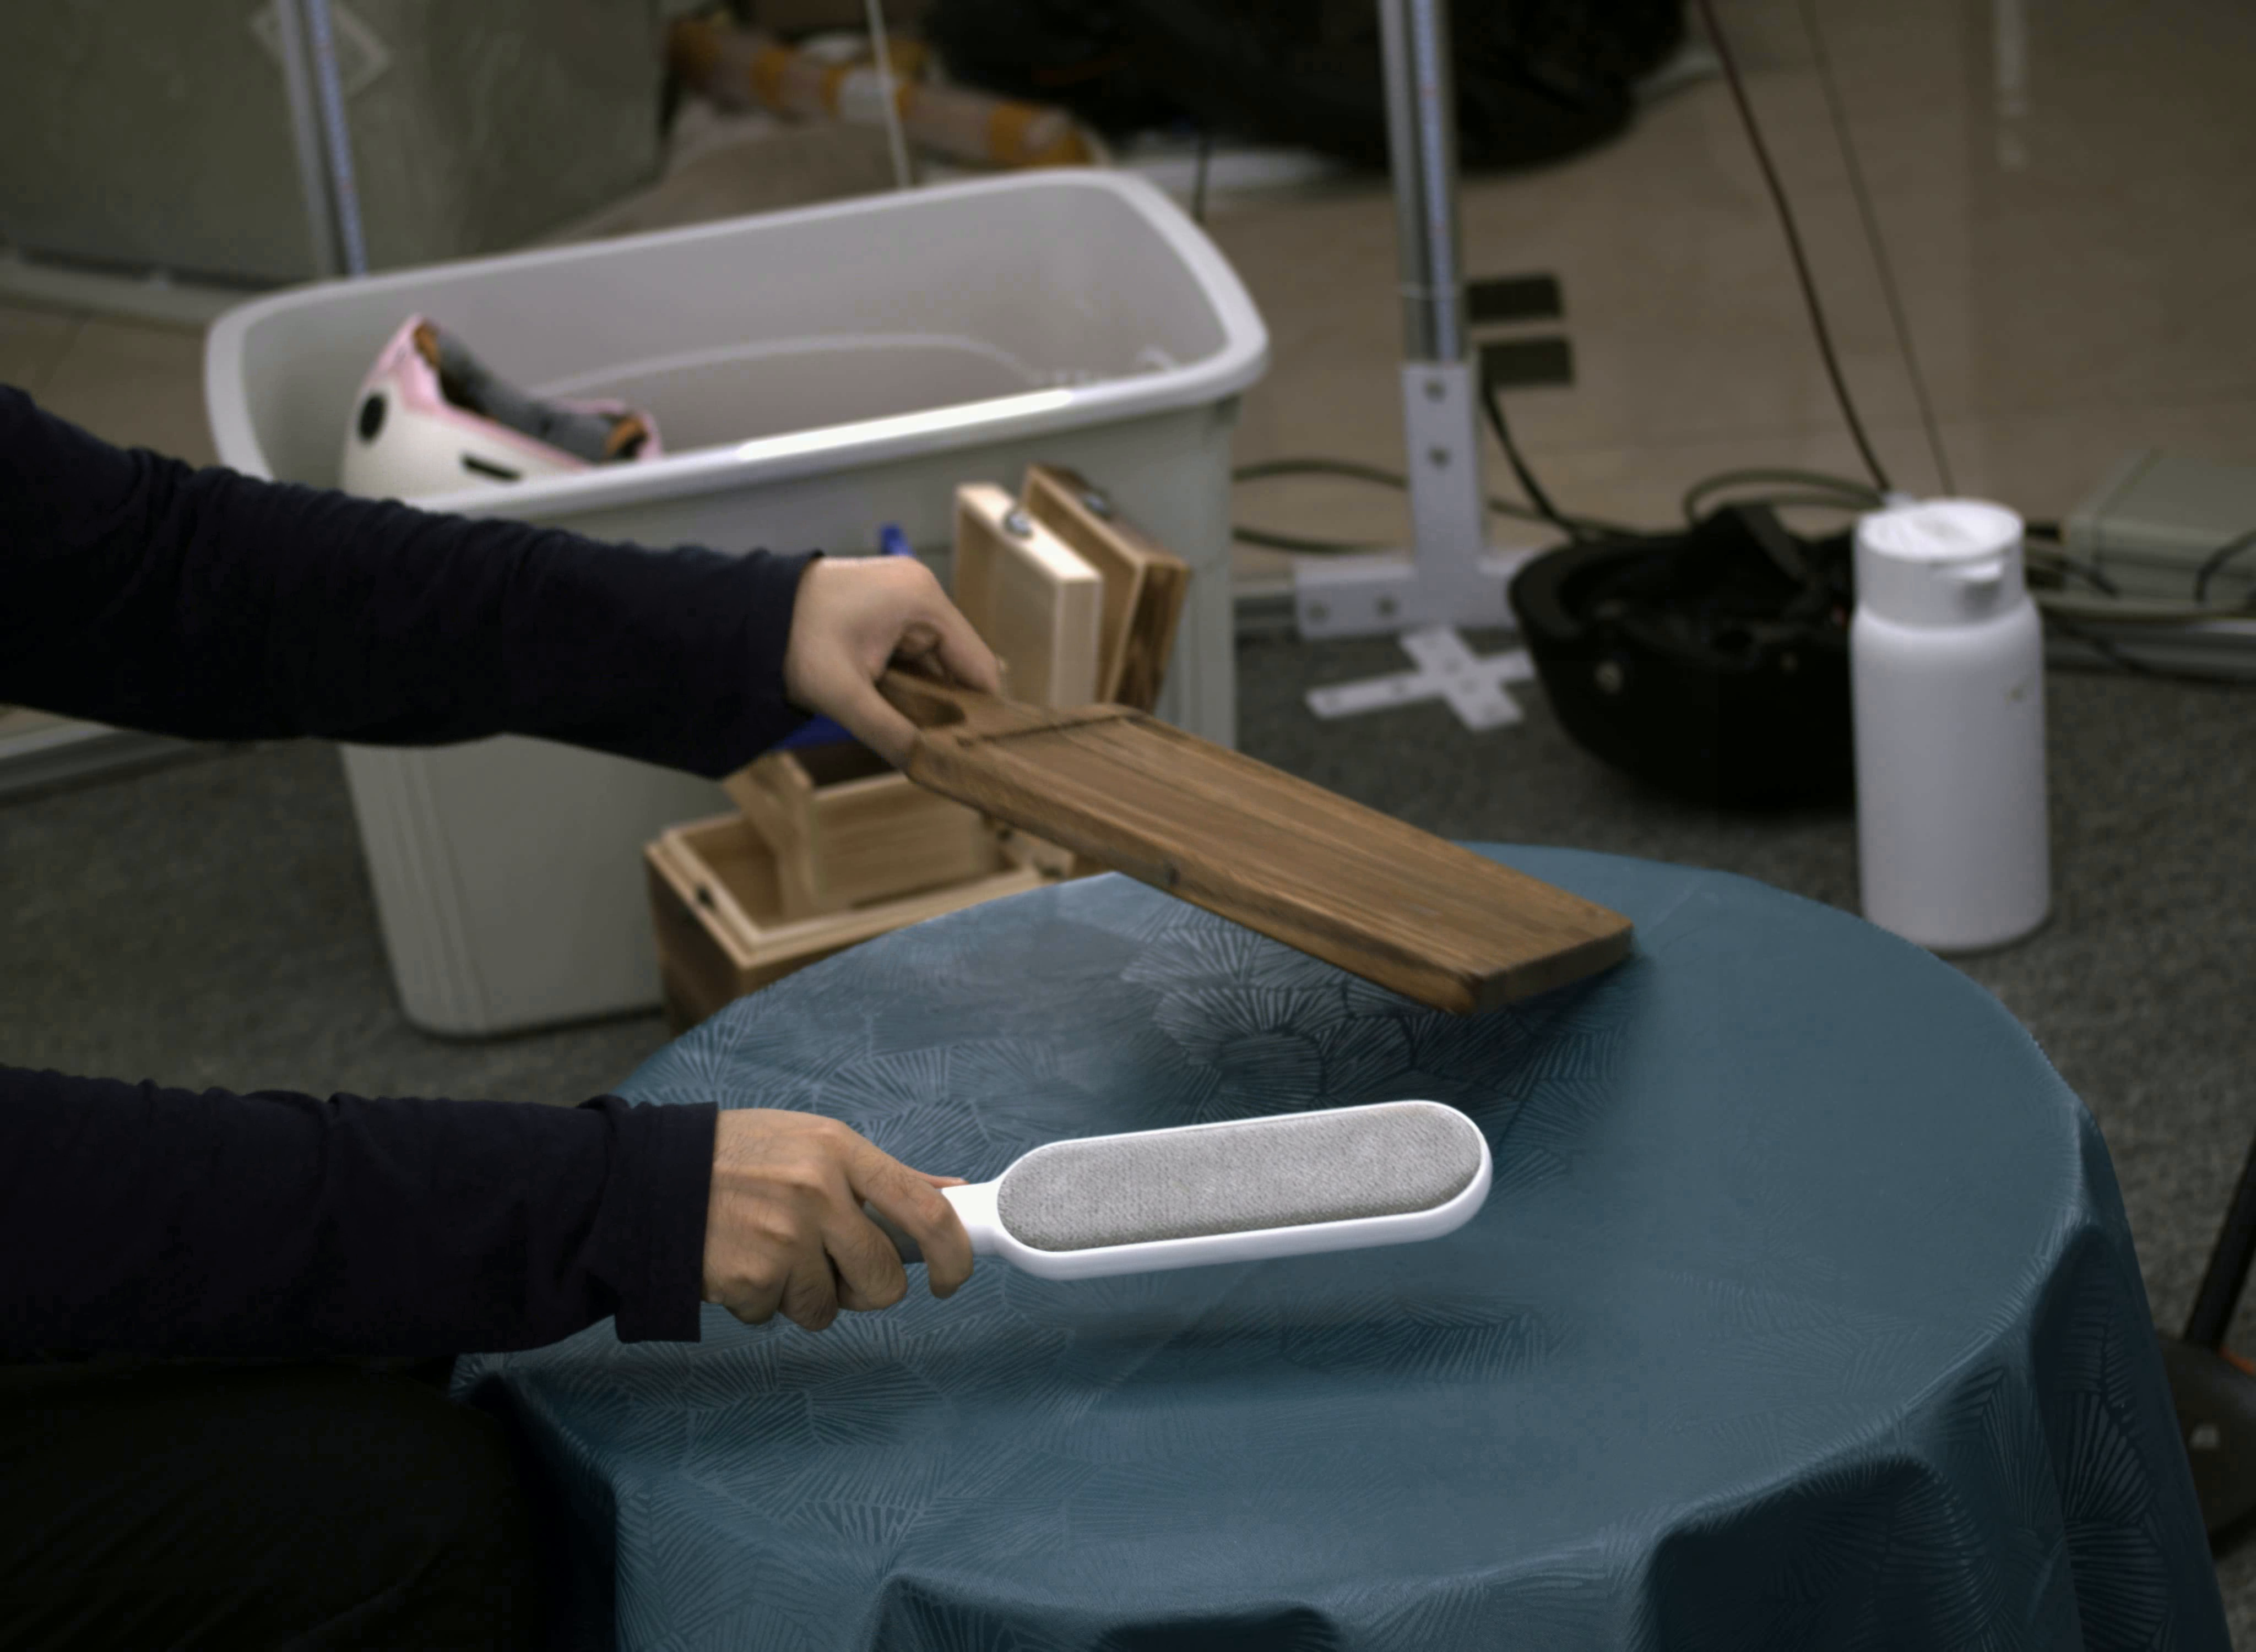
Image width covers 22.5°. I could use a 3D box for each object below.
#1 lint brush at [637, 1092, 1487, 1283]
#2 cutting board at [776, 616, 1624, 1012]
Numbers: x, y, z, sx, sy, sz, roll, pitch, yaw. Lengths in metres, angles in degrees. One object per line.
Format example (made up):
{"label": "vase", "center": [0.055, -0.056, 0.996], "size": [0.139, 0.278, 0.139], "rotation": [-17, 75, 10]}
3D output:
{"label": "lint brush", "center": [-0.024, 0.134, 2.033], "size": [0.308, 0.021, 0.059], "rotation": [-7, 52, 5]}
{"label": "cutting board", "center": [0.012, -0.011, 2.254], "size": [0.350, 0.023, 0.200], "rotation": [24, 13, 20]}
